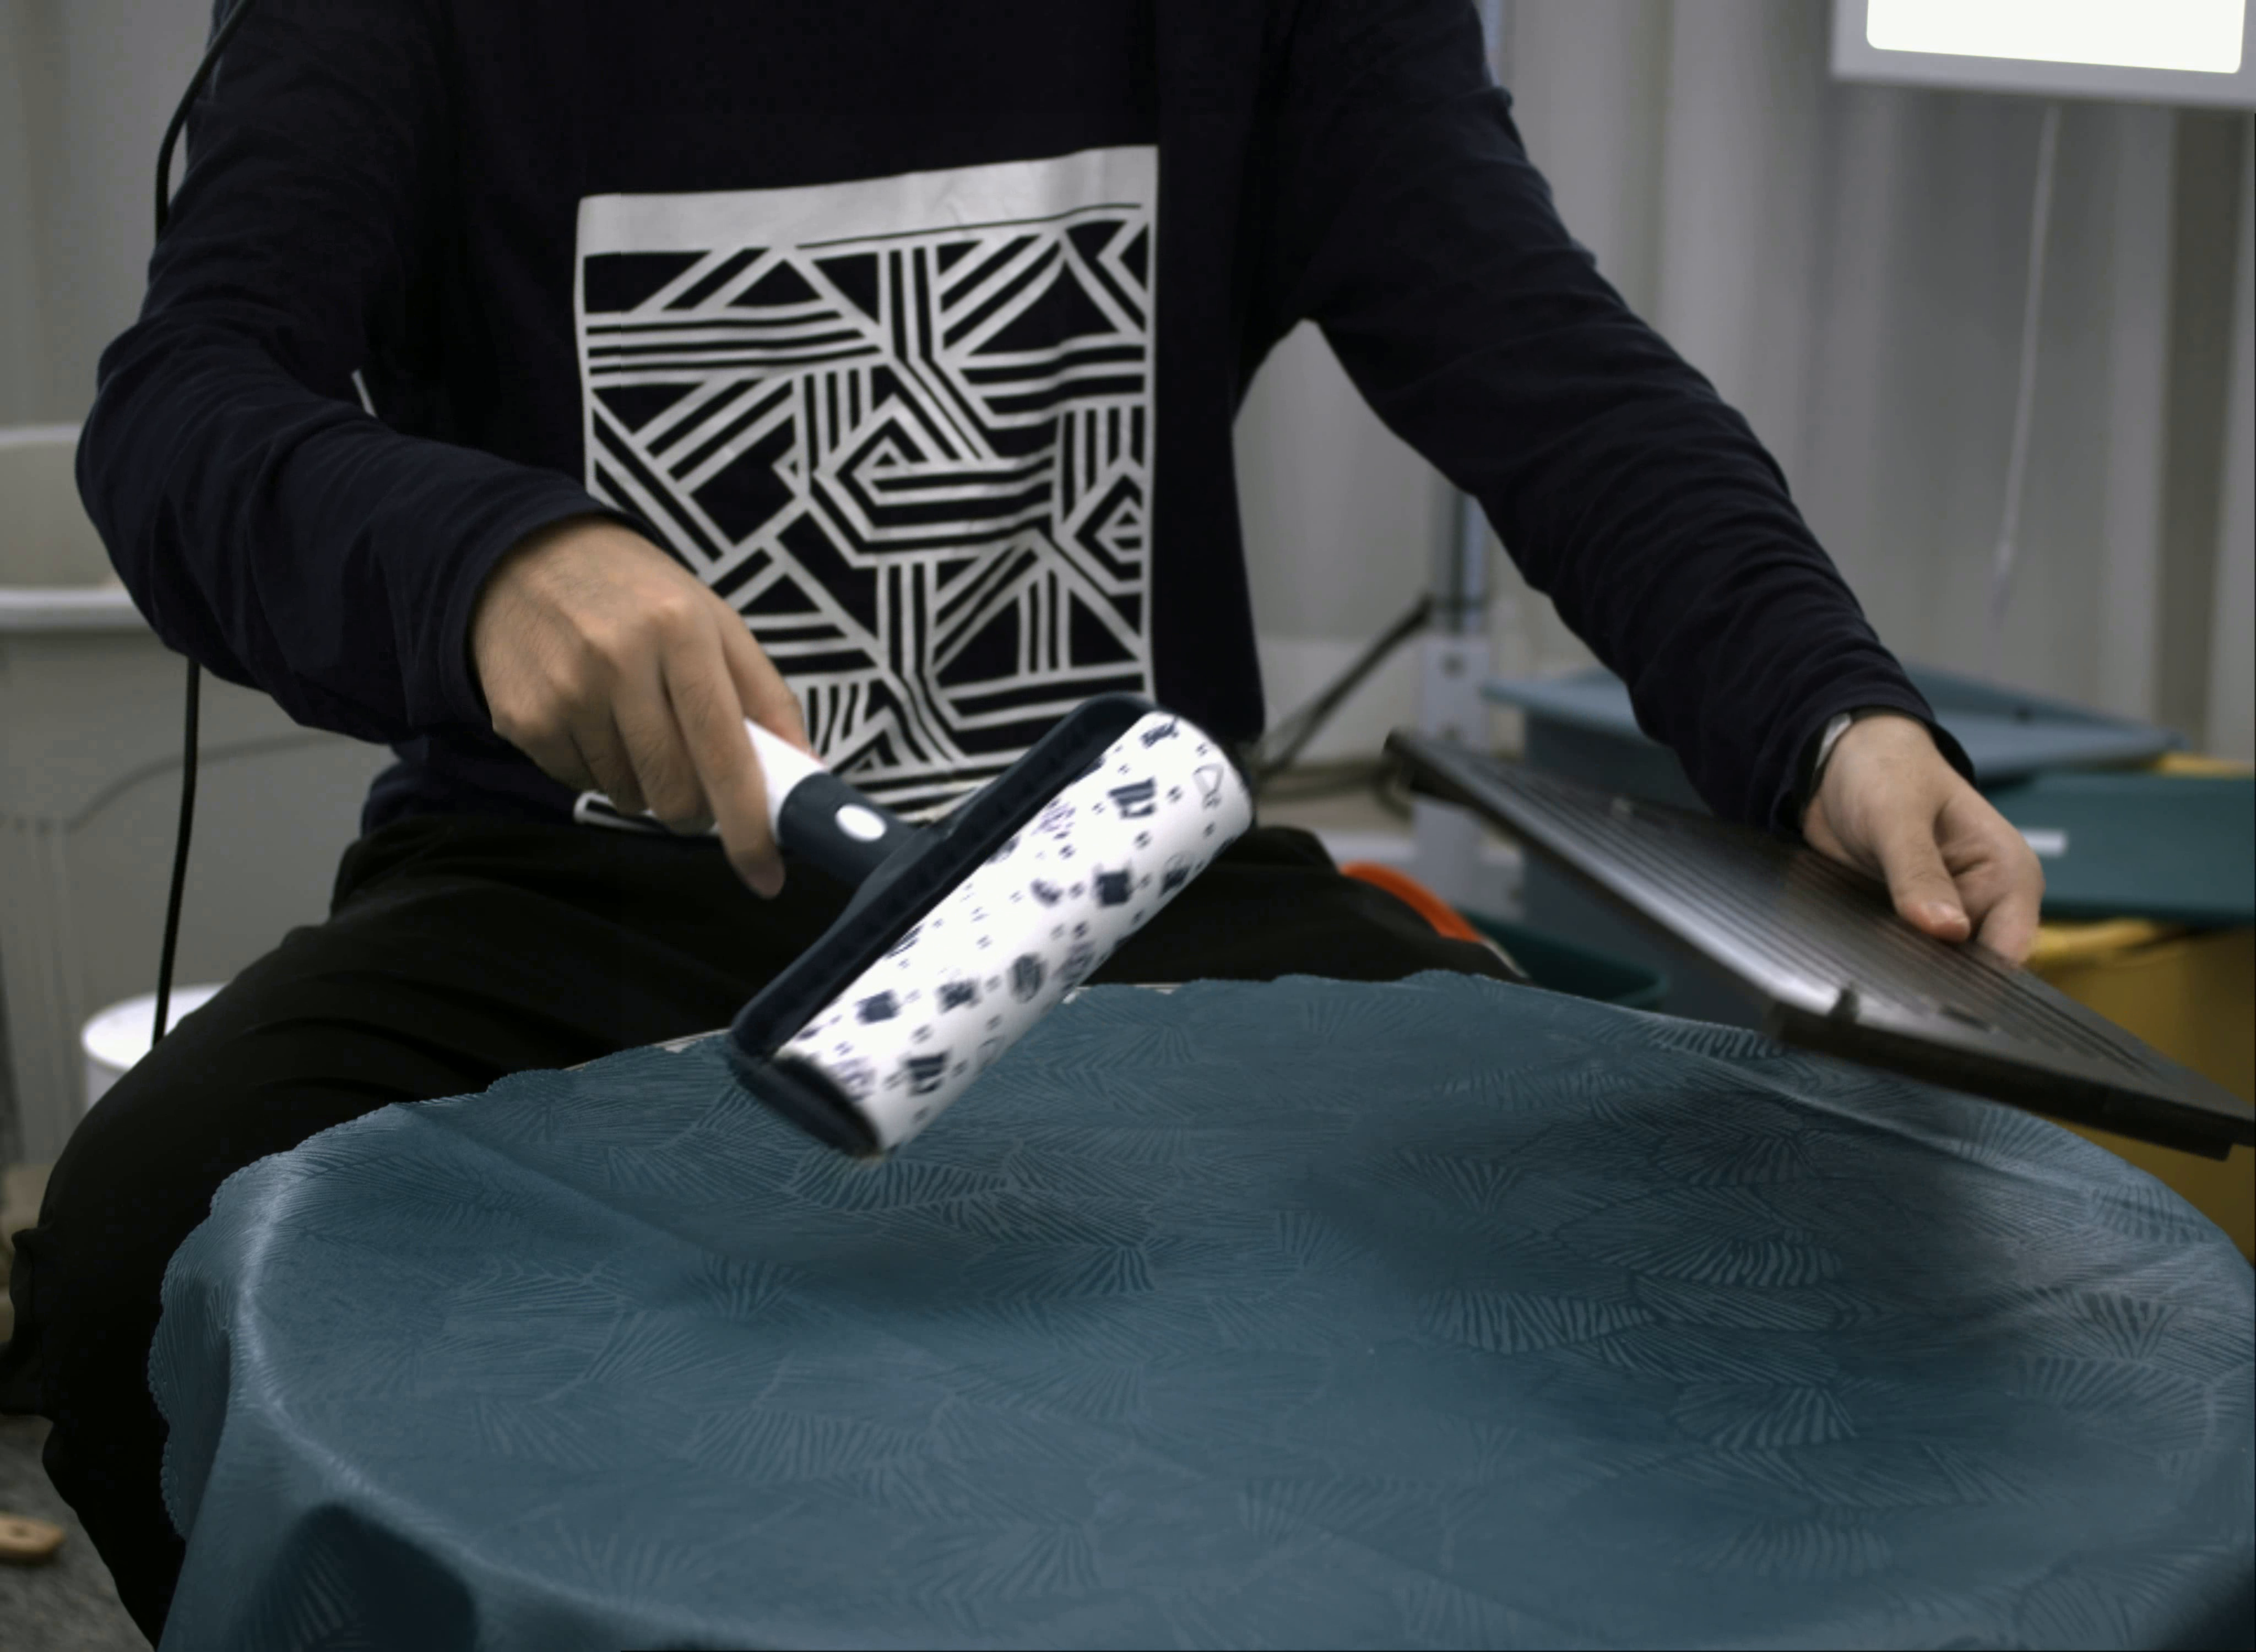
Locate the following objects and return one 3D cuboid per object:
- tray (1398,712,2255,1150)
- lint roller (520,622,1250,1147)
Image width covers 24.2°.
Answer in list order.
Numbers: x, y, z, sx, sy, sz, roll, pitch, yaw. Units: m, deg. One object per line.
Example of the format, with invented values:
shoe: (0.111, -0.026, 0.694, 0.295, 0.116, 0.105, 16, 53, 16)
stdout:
tray: (0.206, 0.030, 1.594, 0.171, 0.019, 0.302, 17, 9, -23)
lint roller: (-0.105, -0.012, 1.629, 0.244, 0.051, 0.176, 29, 61, 32)
